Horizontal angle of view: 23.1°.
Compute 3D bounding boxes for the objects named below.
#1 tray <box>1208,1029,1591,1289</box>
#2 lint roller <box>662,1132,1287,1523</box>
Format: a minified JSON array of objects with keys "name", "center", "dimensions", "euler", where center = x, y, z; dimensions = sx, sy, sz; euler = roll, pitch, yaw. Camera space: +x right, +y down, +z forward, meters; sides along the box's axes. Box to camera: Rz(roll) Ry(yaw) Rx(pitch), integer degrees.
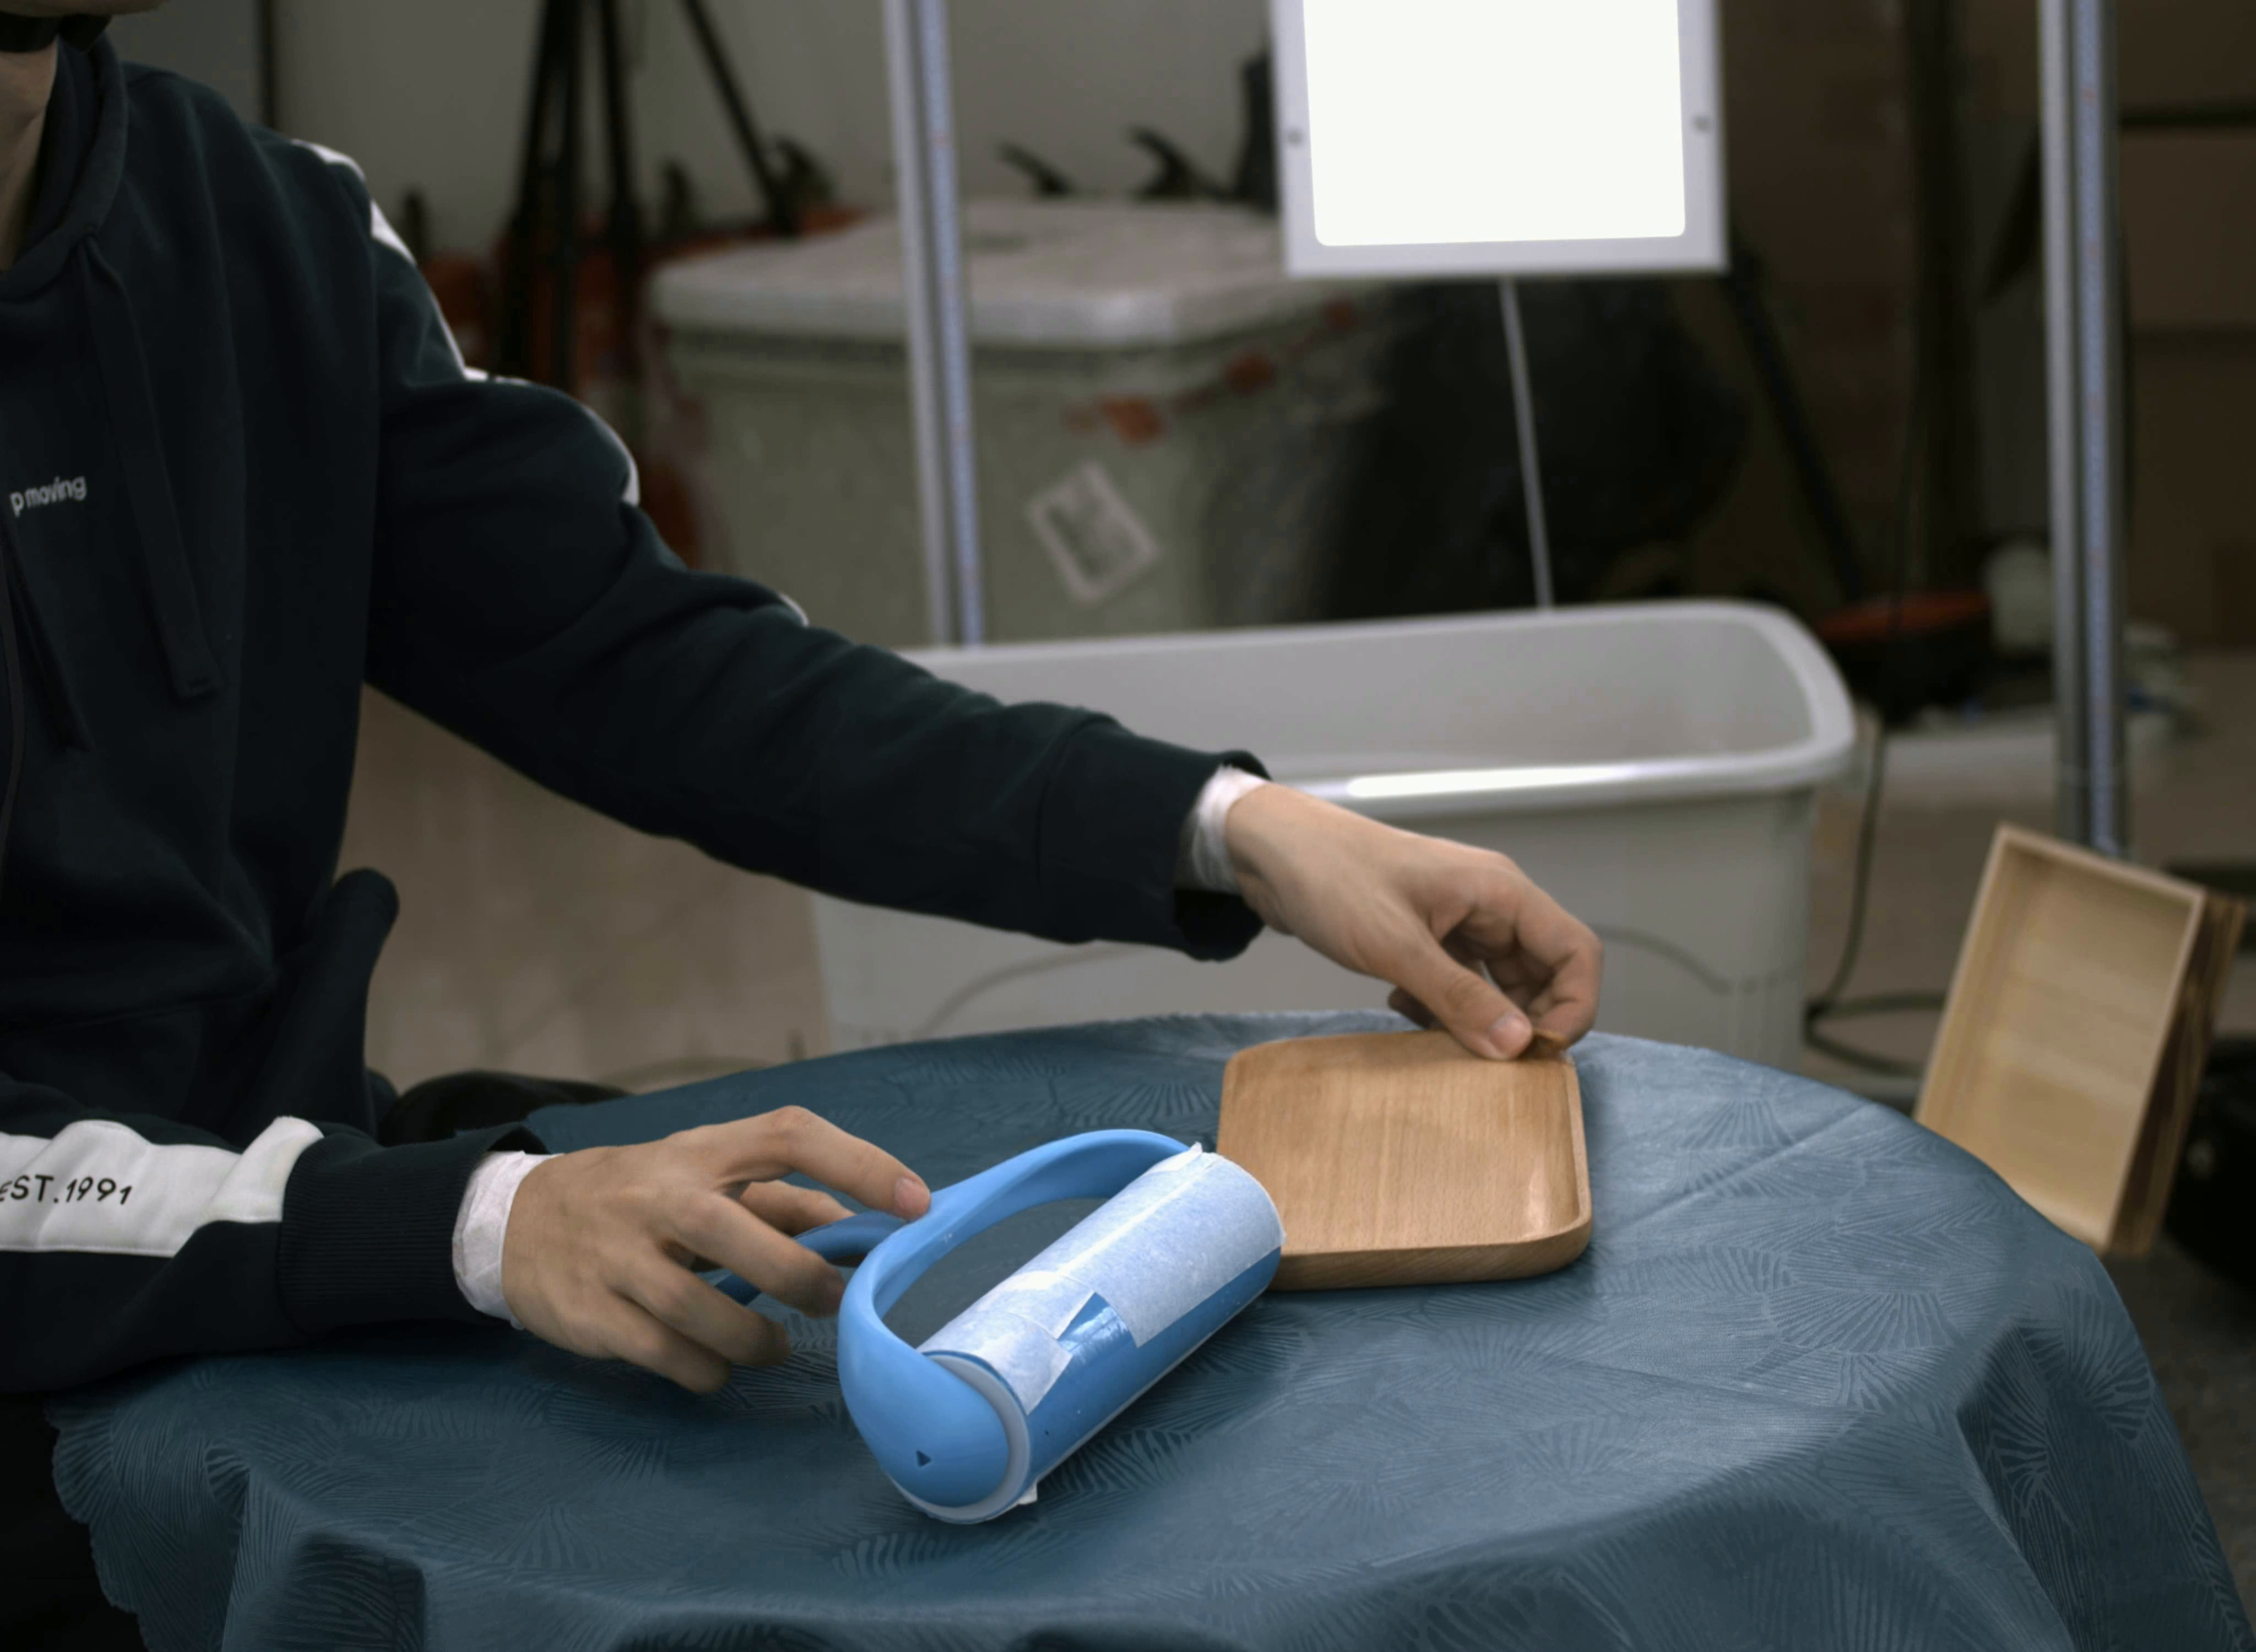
[{"name":"tray","center":[0.093,0.112,1.884],"dimensions":[0.131,0.023,0.249],"euler":[-6,14,6]},{"name":"lint roller","center":[-0.066,0.151,1.702],"dimensions":[0.183,0.068,0.224],"euler":[1,17,23]}]
